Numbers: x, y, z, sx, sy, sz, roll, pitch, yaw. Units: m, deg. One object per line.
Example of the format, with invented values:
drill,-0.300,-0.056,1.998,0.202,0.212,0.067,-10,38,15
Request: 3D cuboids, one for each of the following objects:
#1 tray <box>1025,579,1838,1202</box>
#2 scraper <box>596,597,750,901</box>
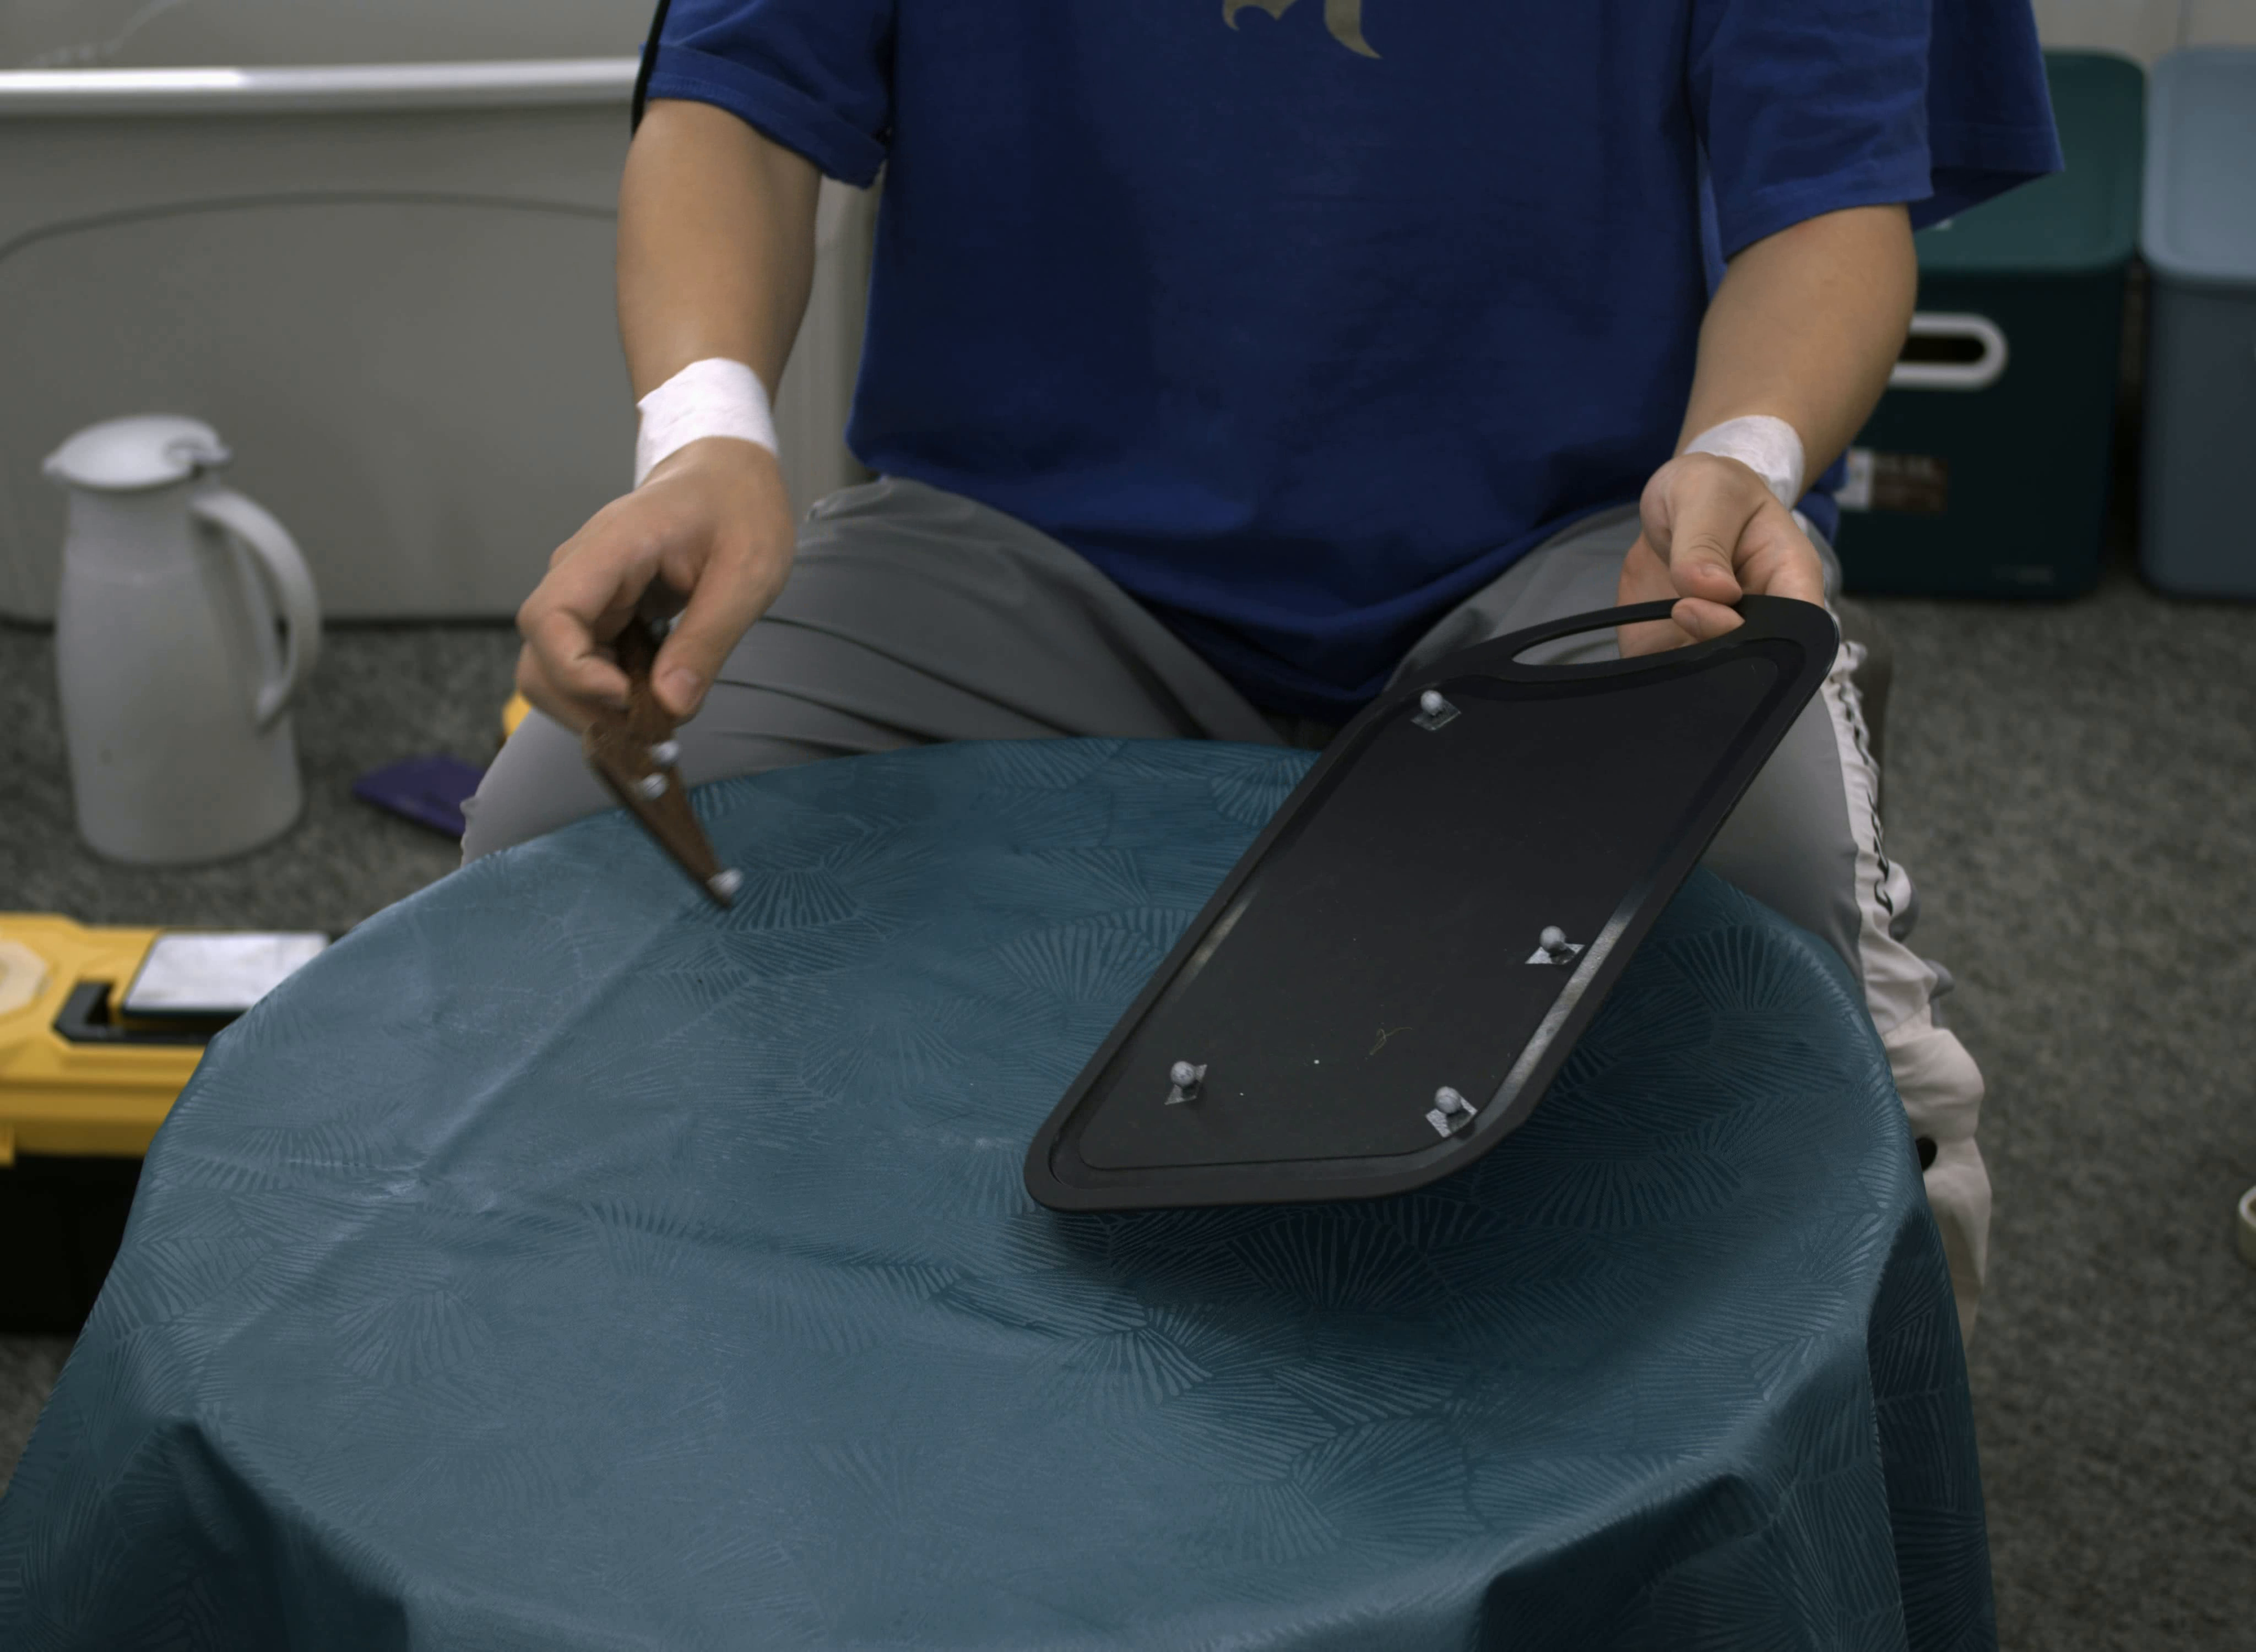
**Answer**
tray,0.105,0.015,1.871,0.208,0.010,0.331,-7,33,41
scraper,-0.161,-0.035,1.950,0.011,0.075,0.213,-37,21,9
